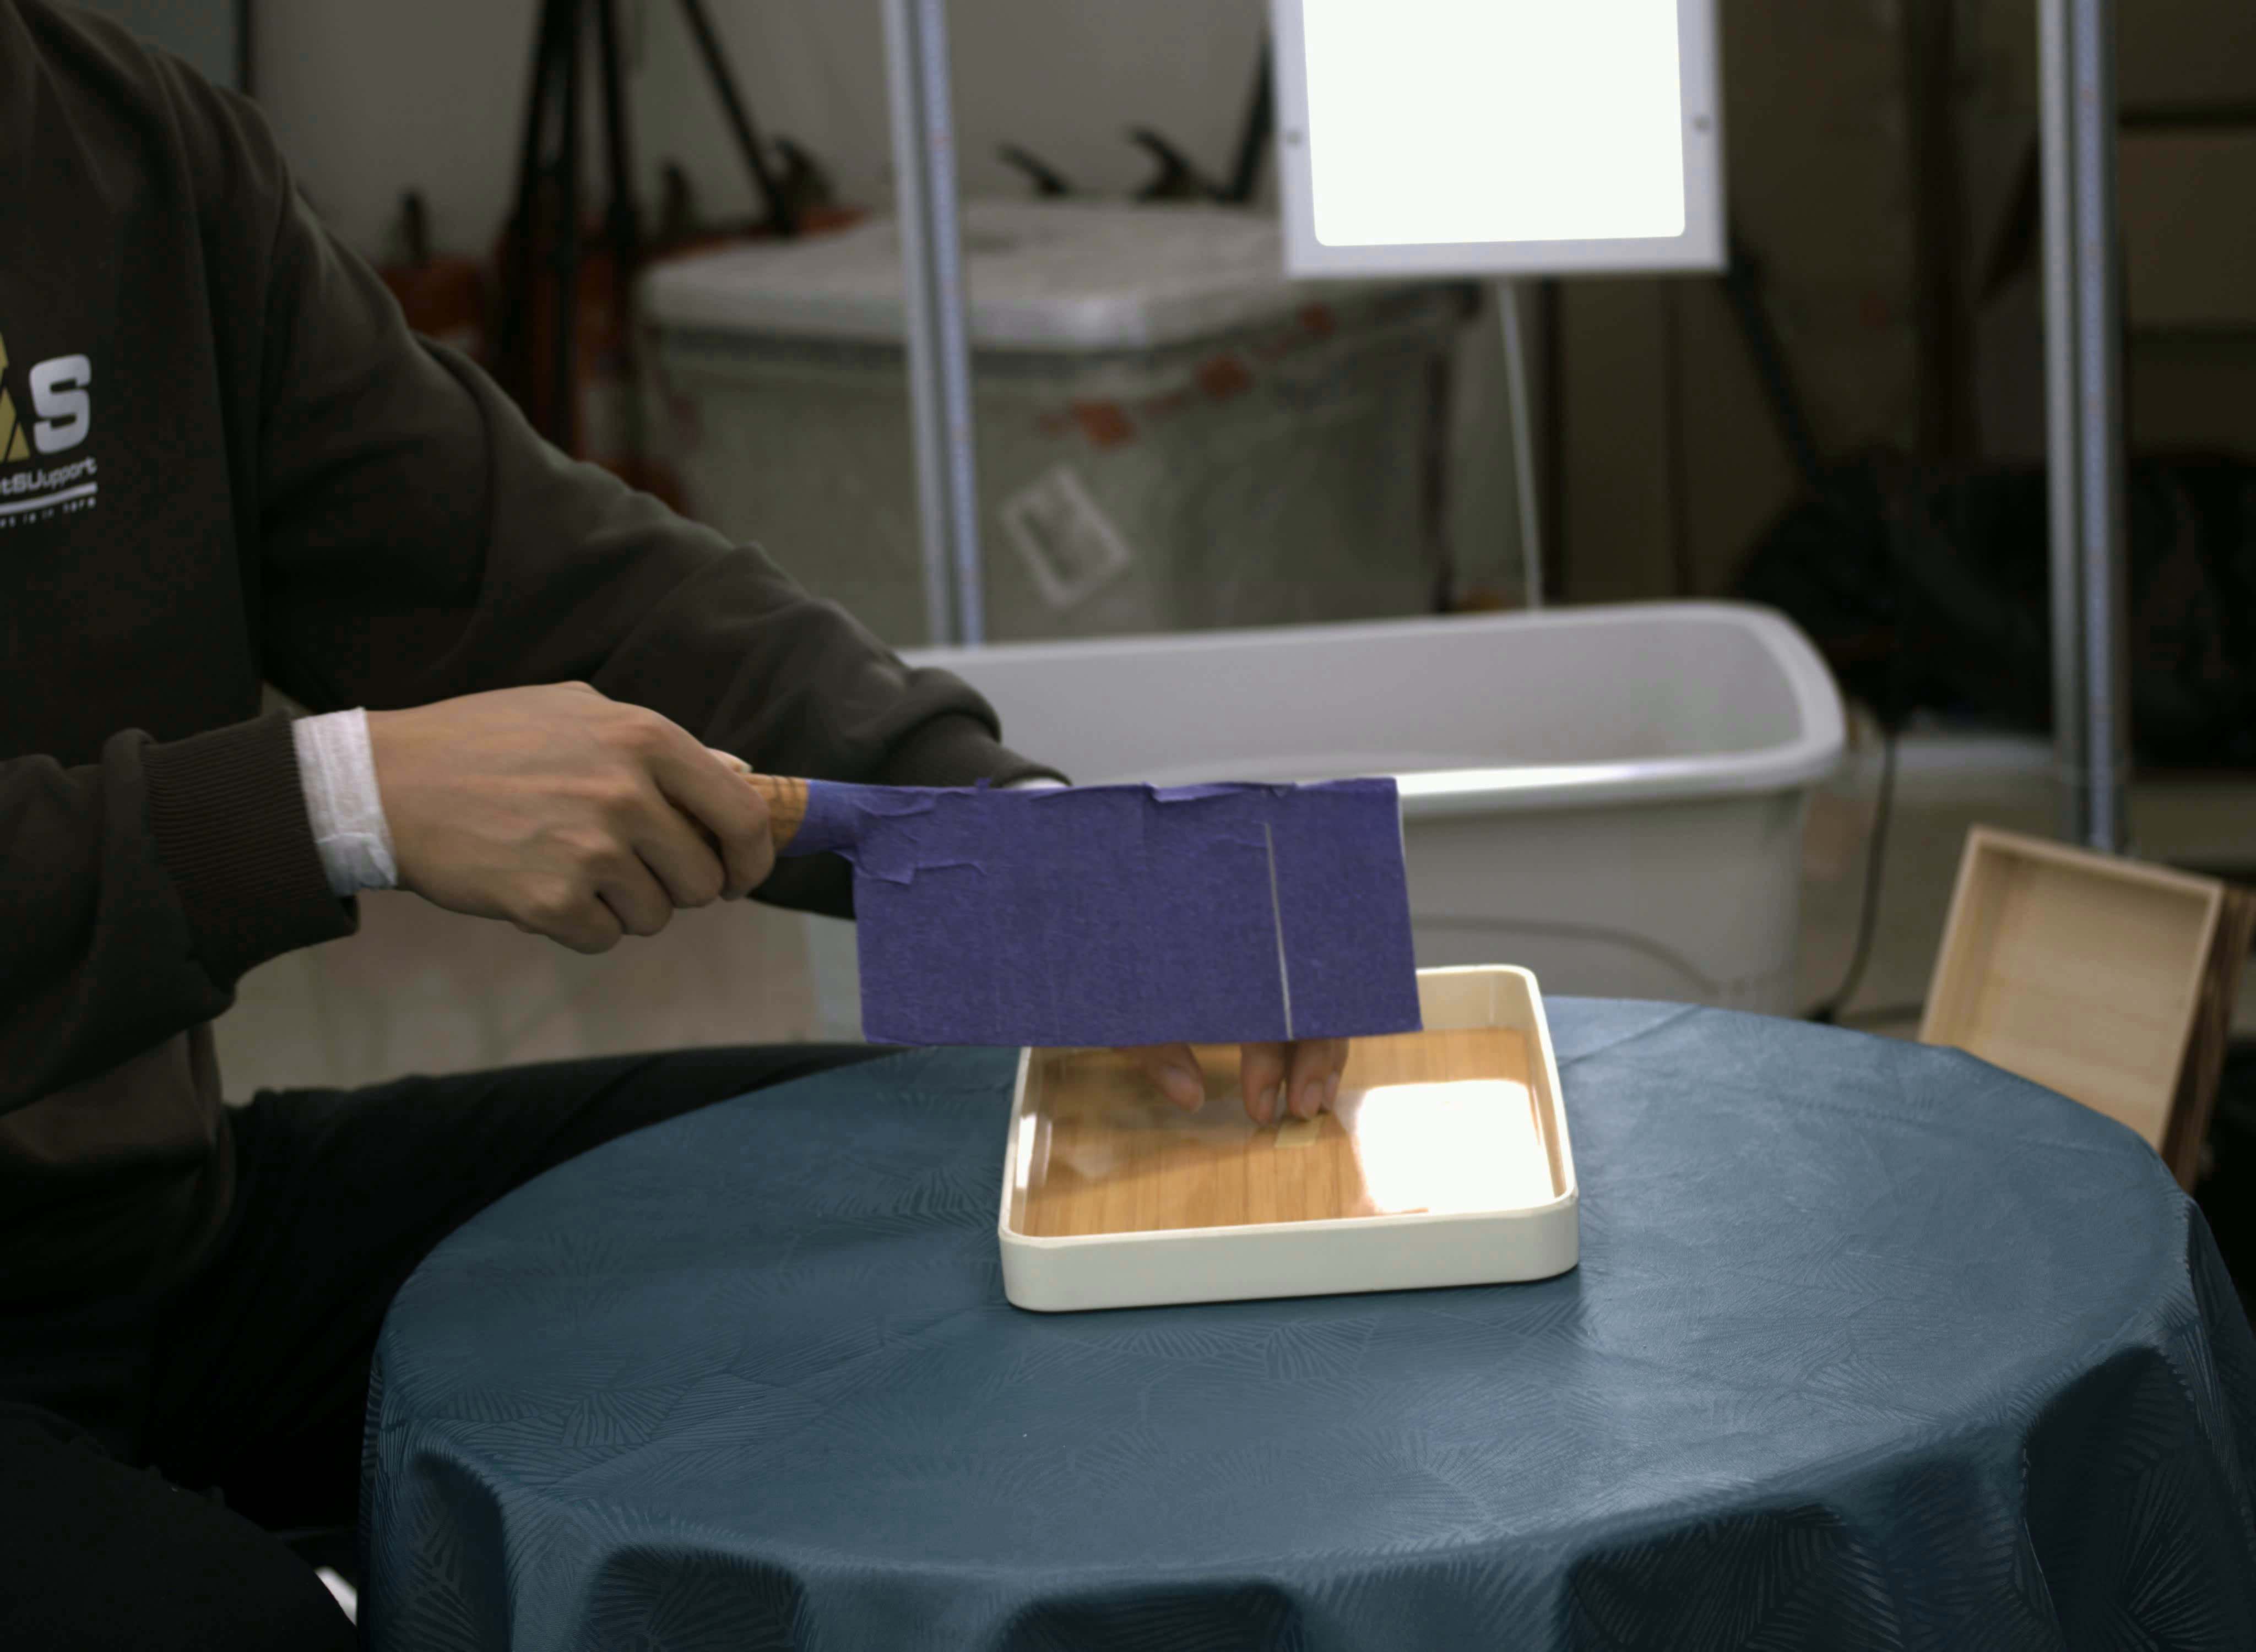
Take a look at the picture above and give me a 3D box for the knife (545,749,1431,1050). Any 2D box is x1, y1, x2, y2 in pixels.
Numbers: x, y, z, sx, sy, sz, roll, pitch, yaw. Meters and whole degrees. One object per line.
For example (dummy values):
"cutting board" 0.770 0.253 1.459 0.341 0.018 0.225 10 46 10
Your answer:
"knife" -0.041 0.028 1.880 0.310 0.104 0.032 -2 -10 -17

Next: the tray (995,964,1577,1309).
"tray" 0.054 0.104 1.914 0.191 0.027 0.299 -4 14 3
